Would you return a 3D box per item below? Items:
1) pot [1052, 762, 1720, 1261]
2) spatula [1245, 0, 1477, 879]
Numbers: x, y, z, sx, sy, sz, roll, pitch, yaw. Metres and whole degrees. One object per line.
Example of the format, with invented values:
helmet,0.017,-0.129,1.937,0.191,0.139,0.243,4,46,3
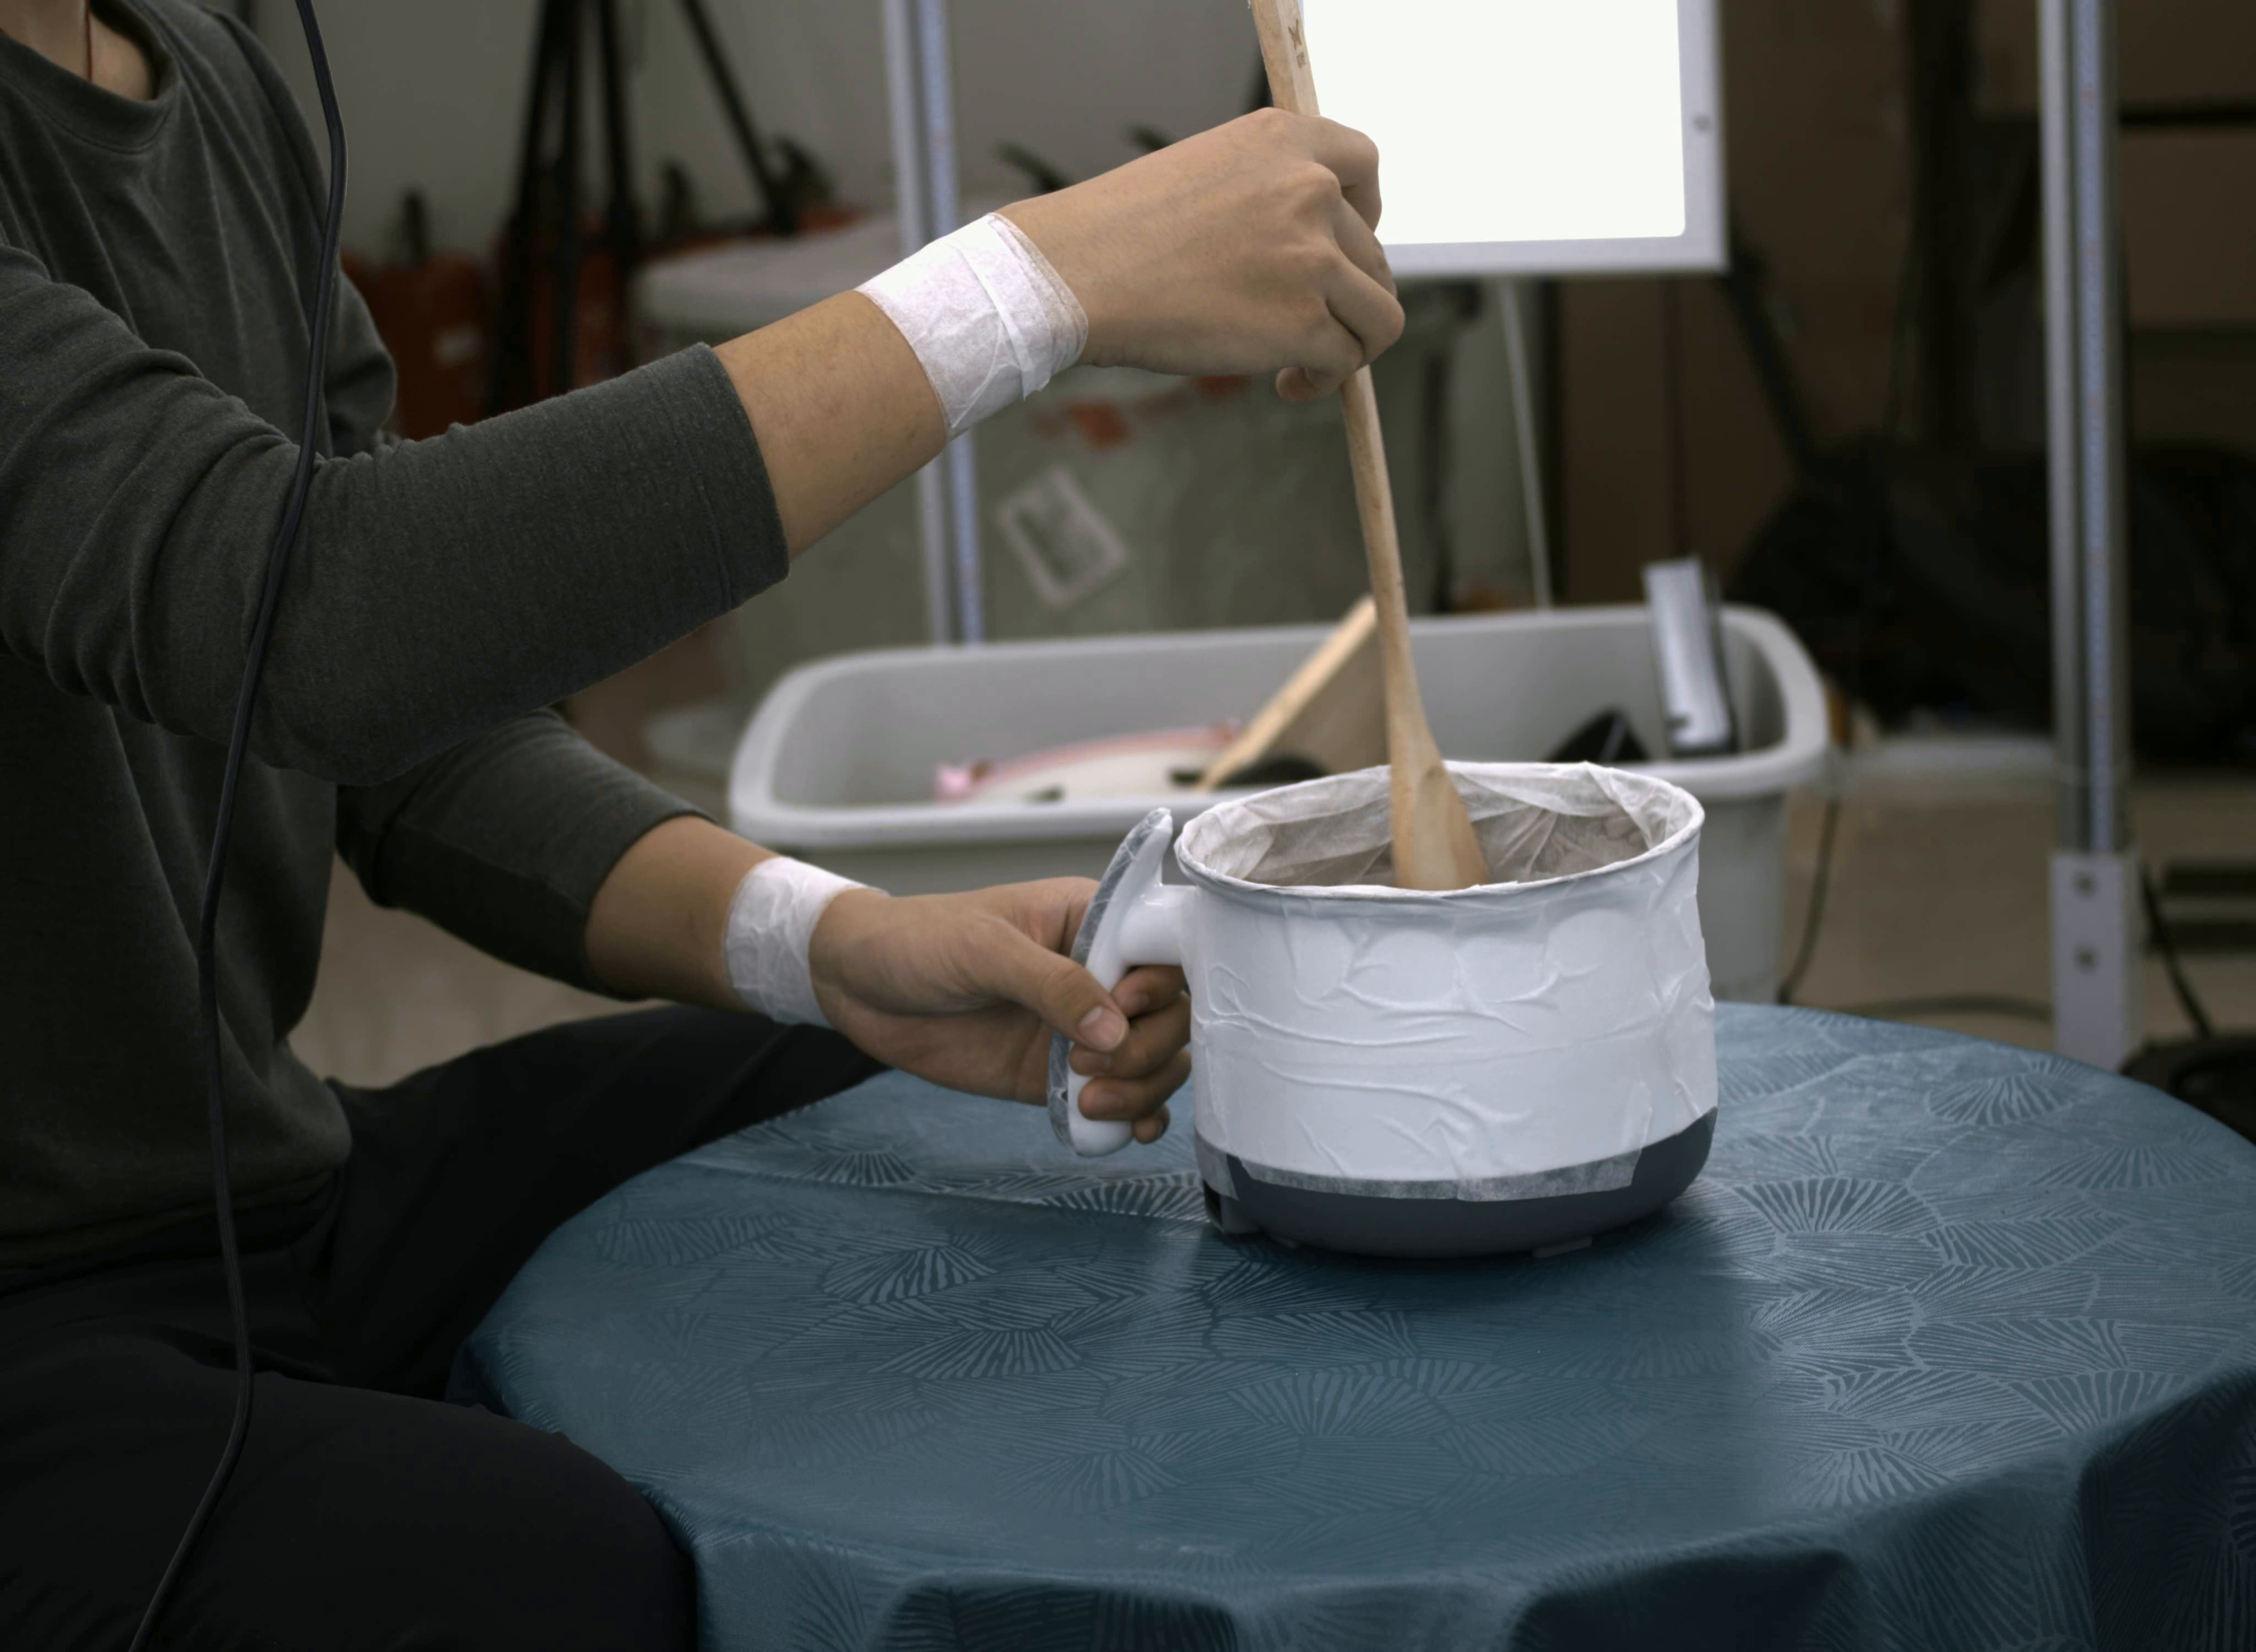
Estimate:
pot,0.083,0.062,1.854,0.237,0.137,0.175,0,15,21
spatula,0.077,-0.112,1.818,0.018,0.392,0.094,-5,18,17
